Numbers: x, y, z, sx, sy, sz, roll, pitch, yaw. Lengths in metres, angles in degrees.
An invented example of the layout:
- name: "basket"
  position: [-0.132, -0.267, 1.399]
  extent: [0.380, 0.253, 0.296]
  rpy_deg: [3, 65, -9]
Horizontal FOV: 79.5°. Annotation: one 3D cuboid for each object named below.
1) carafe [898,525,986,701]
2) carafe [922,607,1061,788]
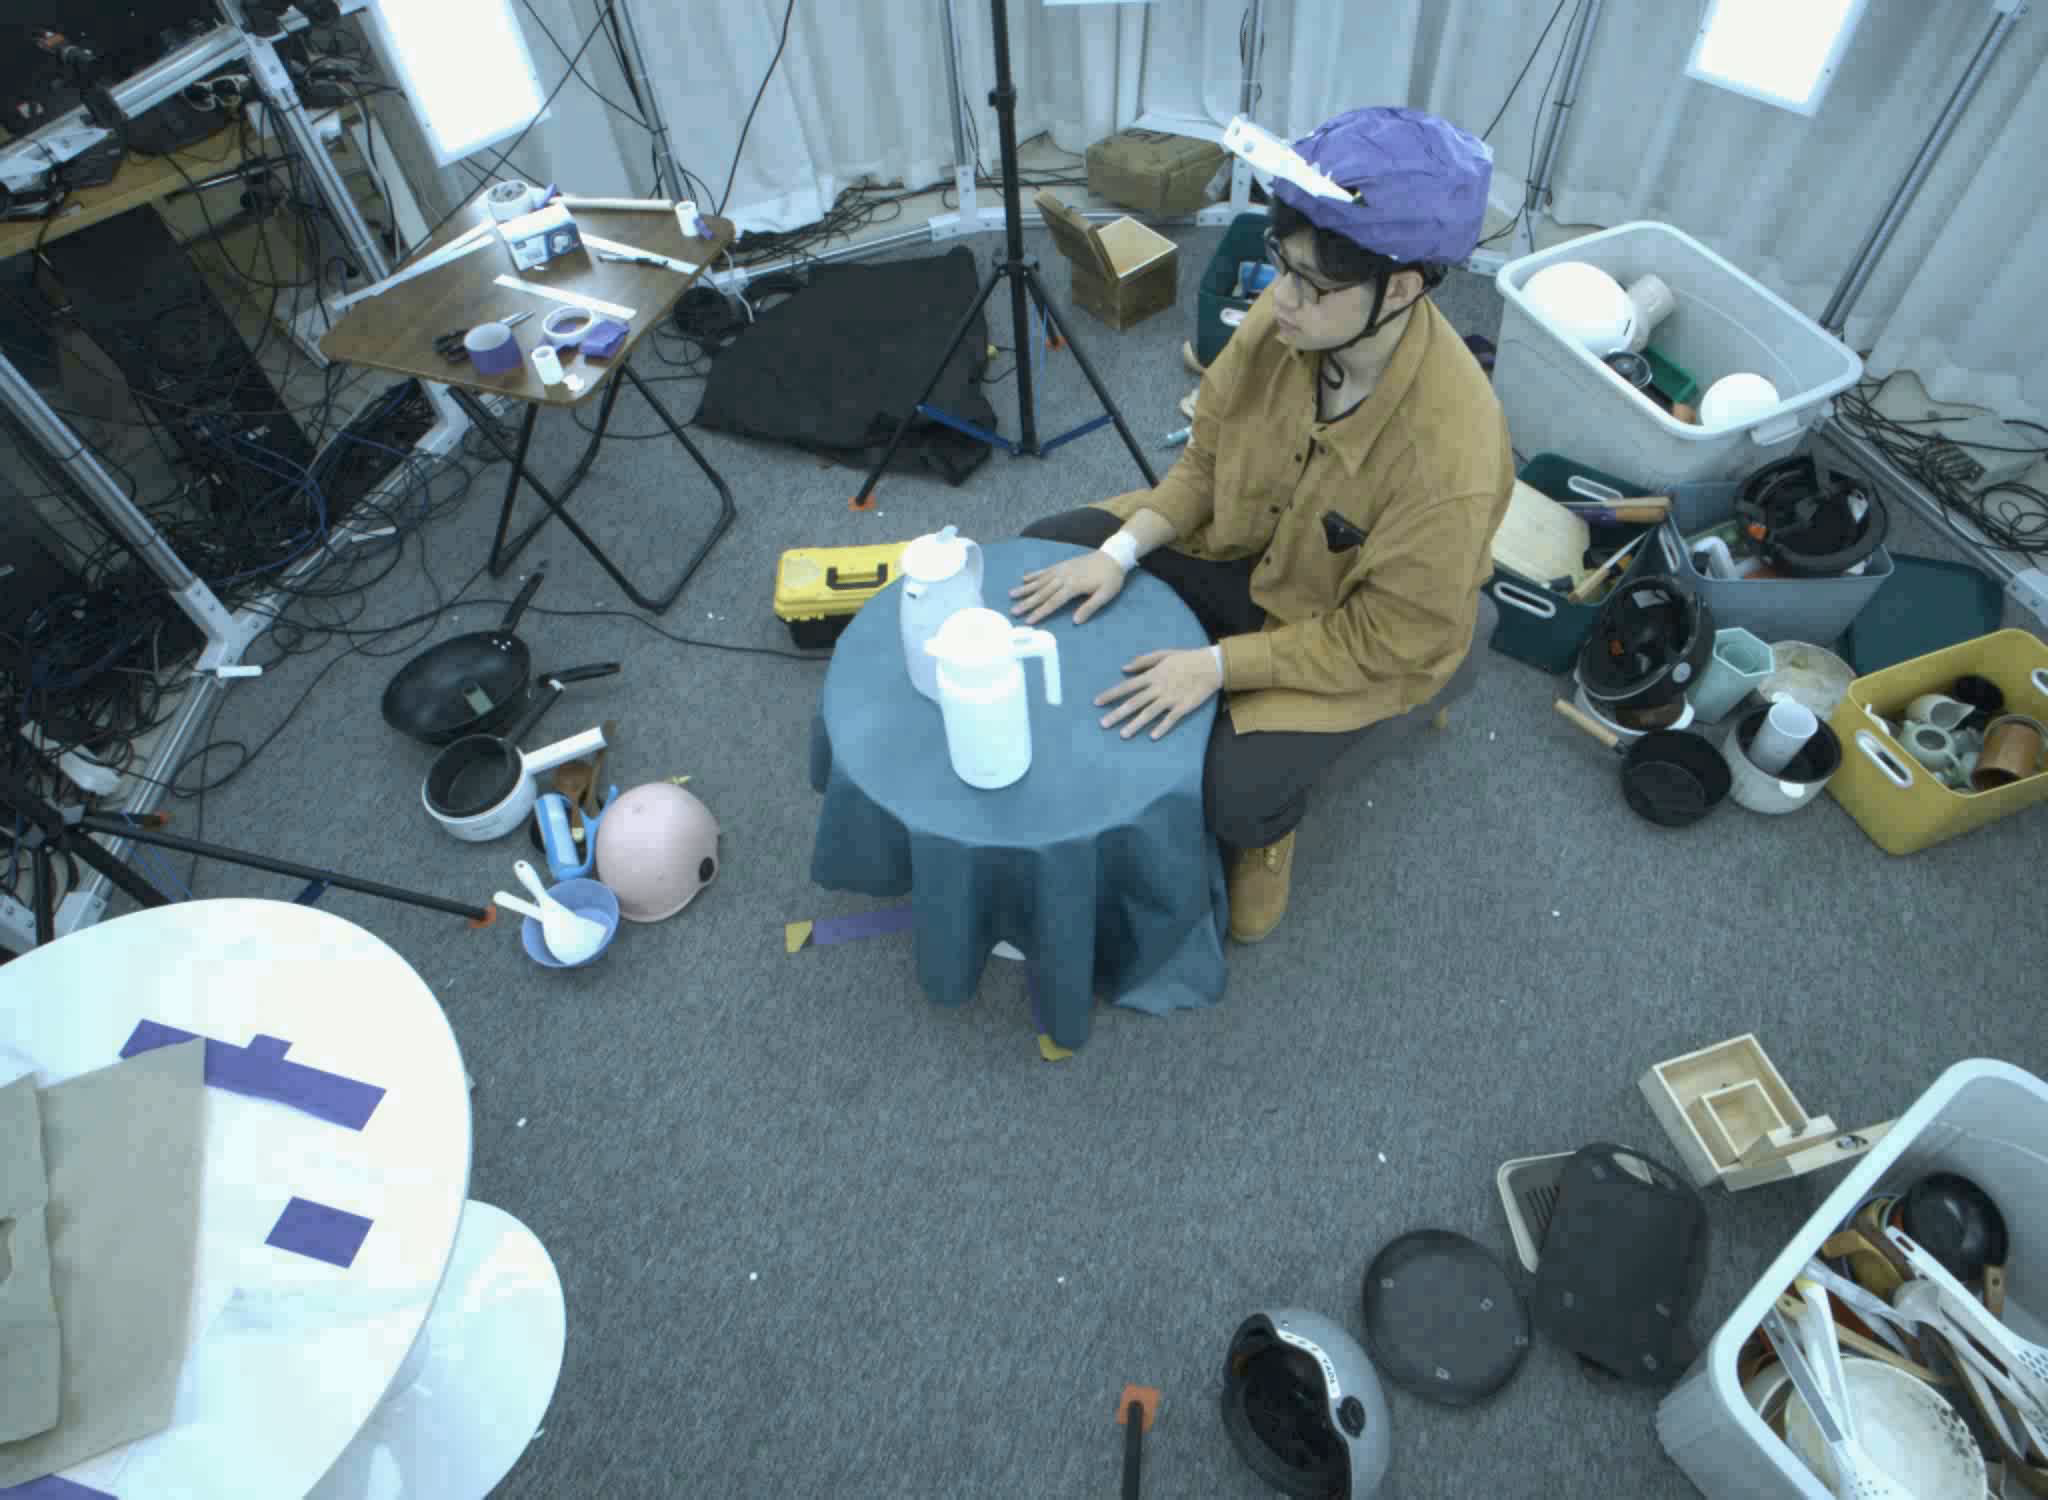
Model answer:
- name: "carafe"
  position: [-0.112, -0.212, 1.783]
  extent: [0.131, 0.251, 0.168]
  rpy_deg: [22, 57, 18]
- name: "carafe"
  position: [-0.038, -0.070, 1.669]
  extent: [0.173, 0.272, 0.122]
  rpy_deg: [-7, 52, -2]
